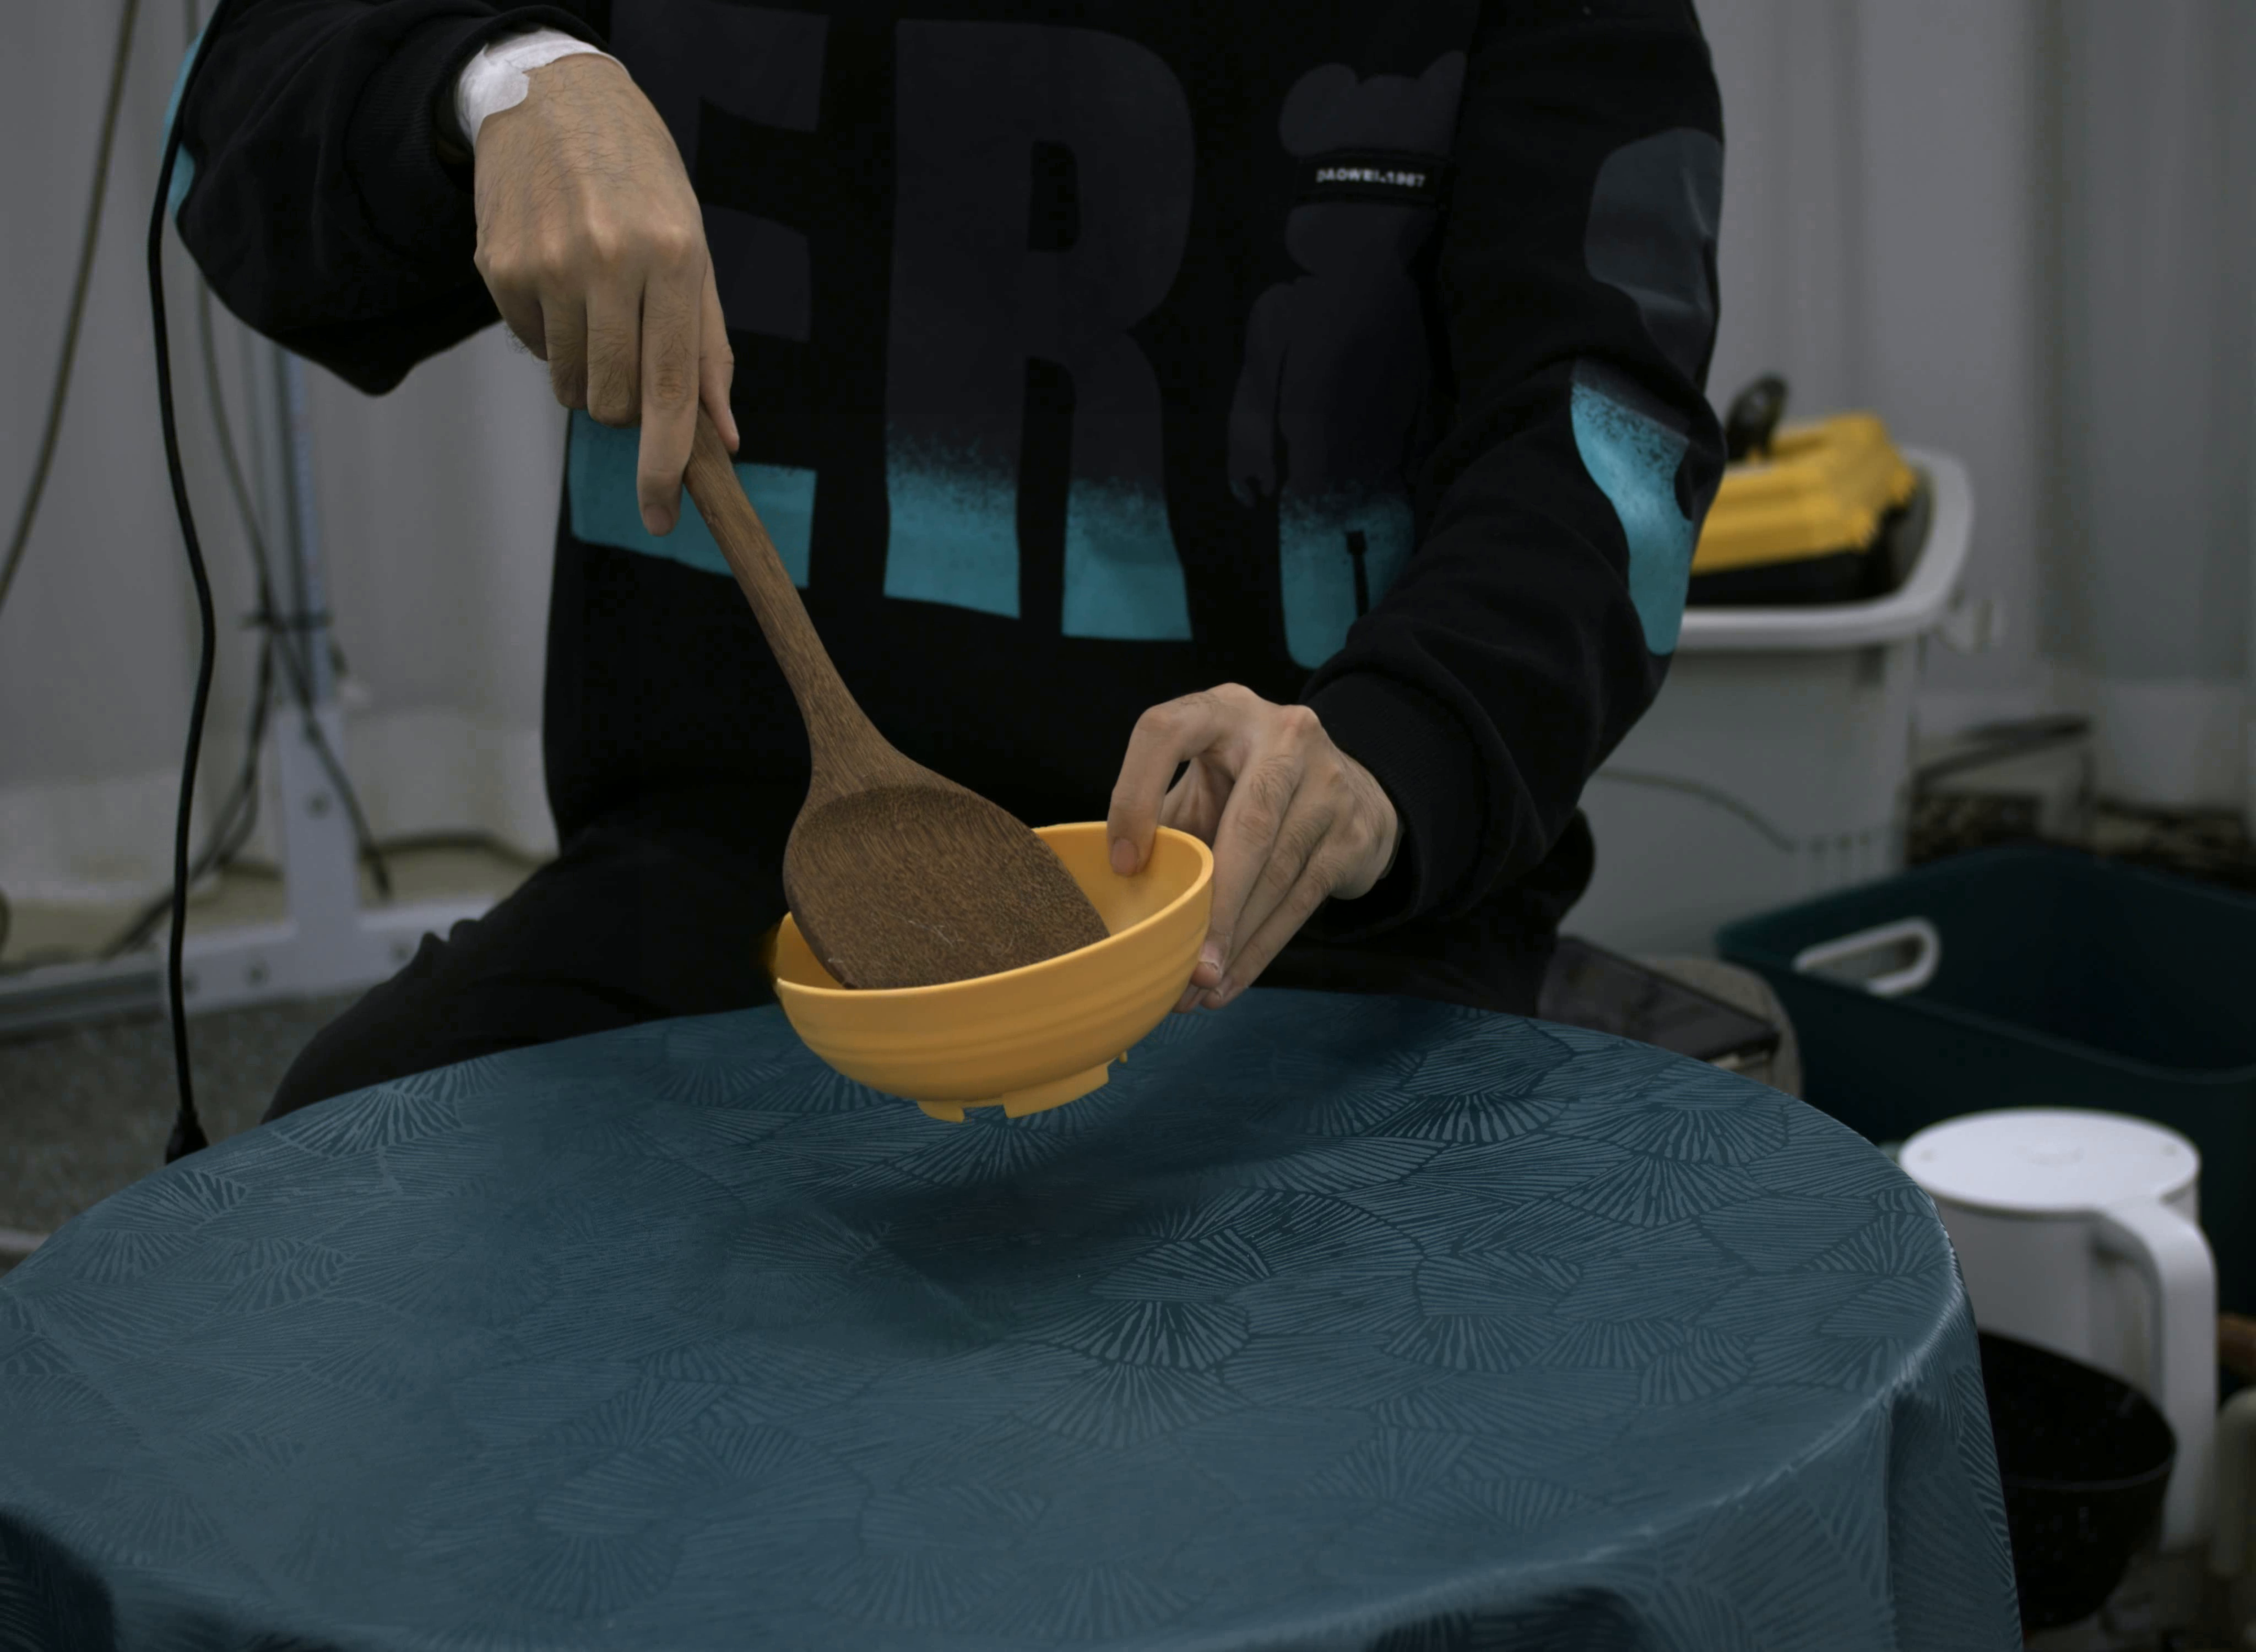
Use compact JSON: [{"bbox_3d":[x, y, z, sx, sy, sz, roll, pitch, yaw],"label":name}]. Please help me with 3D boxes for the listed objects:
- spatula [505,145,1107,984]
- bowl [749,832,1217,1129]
[{"bbox_3d":[-0.122,-0.089,1.755,0.096,0.015,0.391,-10,53,-28],"label":"spatula"},{"bbox_3d":[-0.040,0.053,1.675,0.145,0.060,0.146,-9,16,2],"label":"bowl"}]
